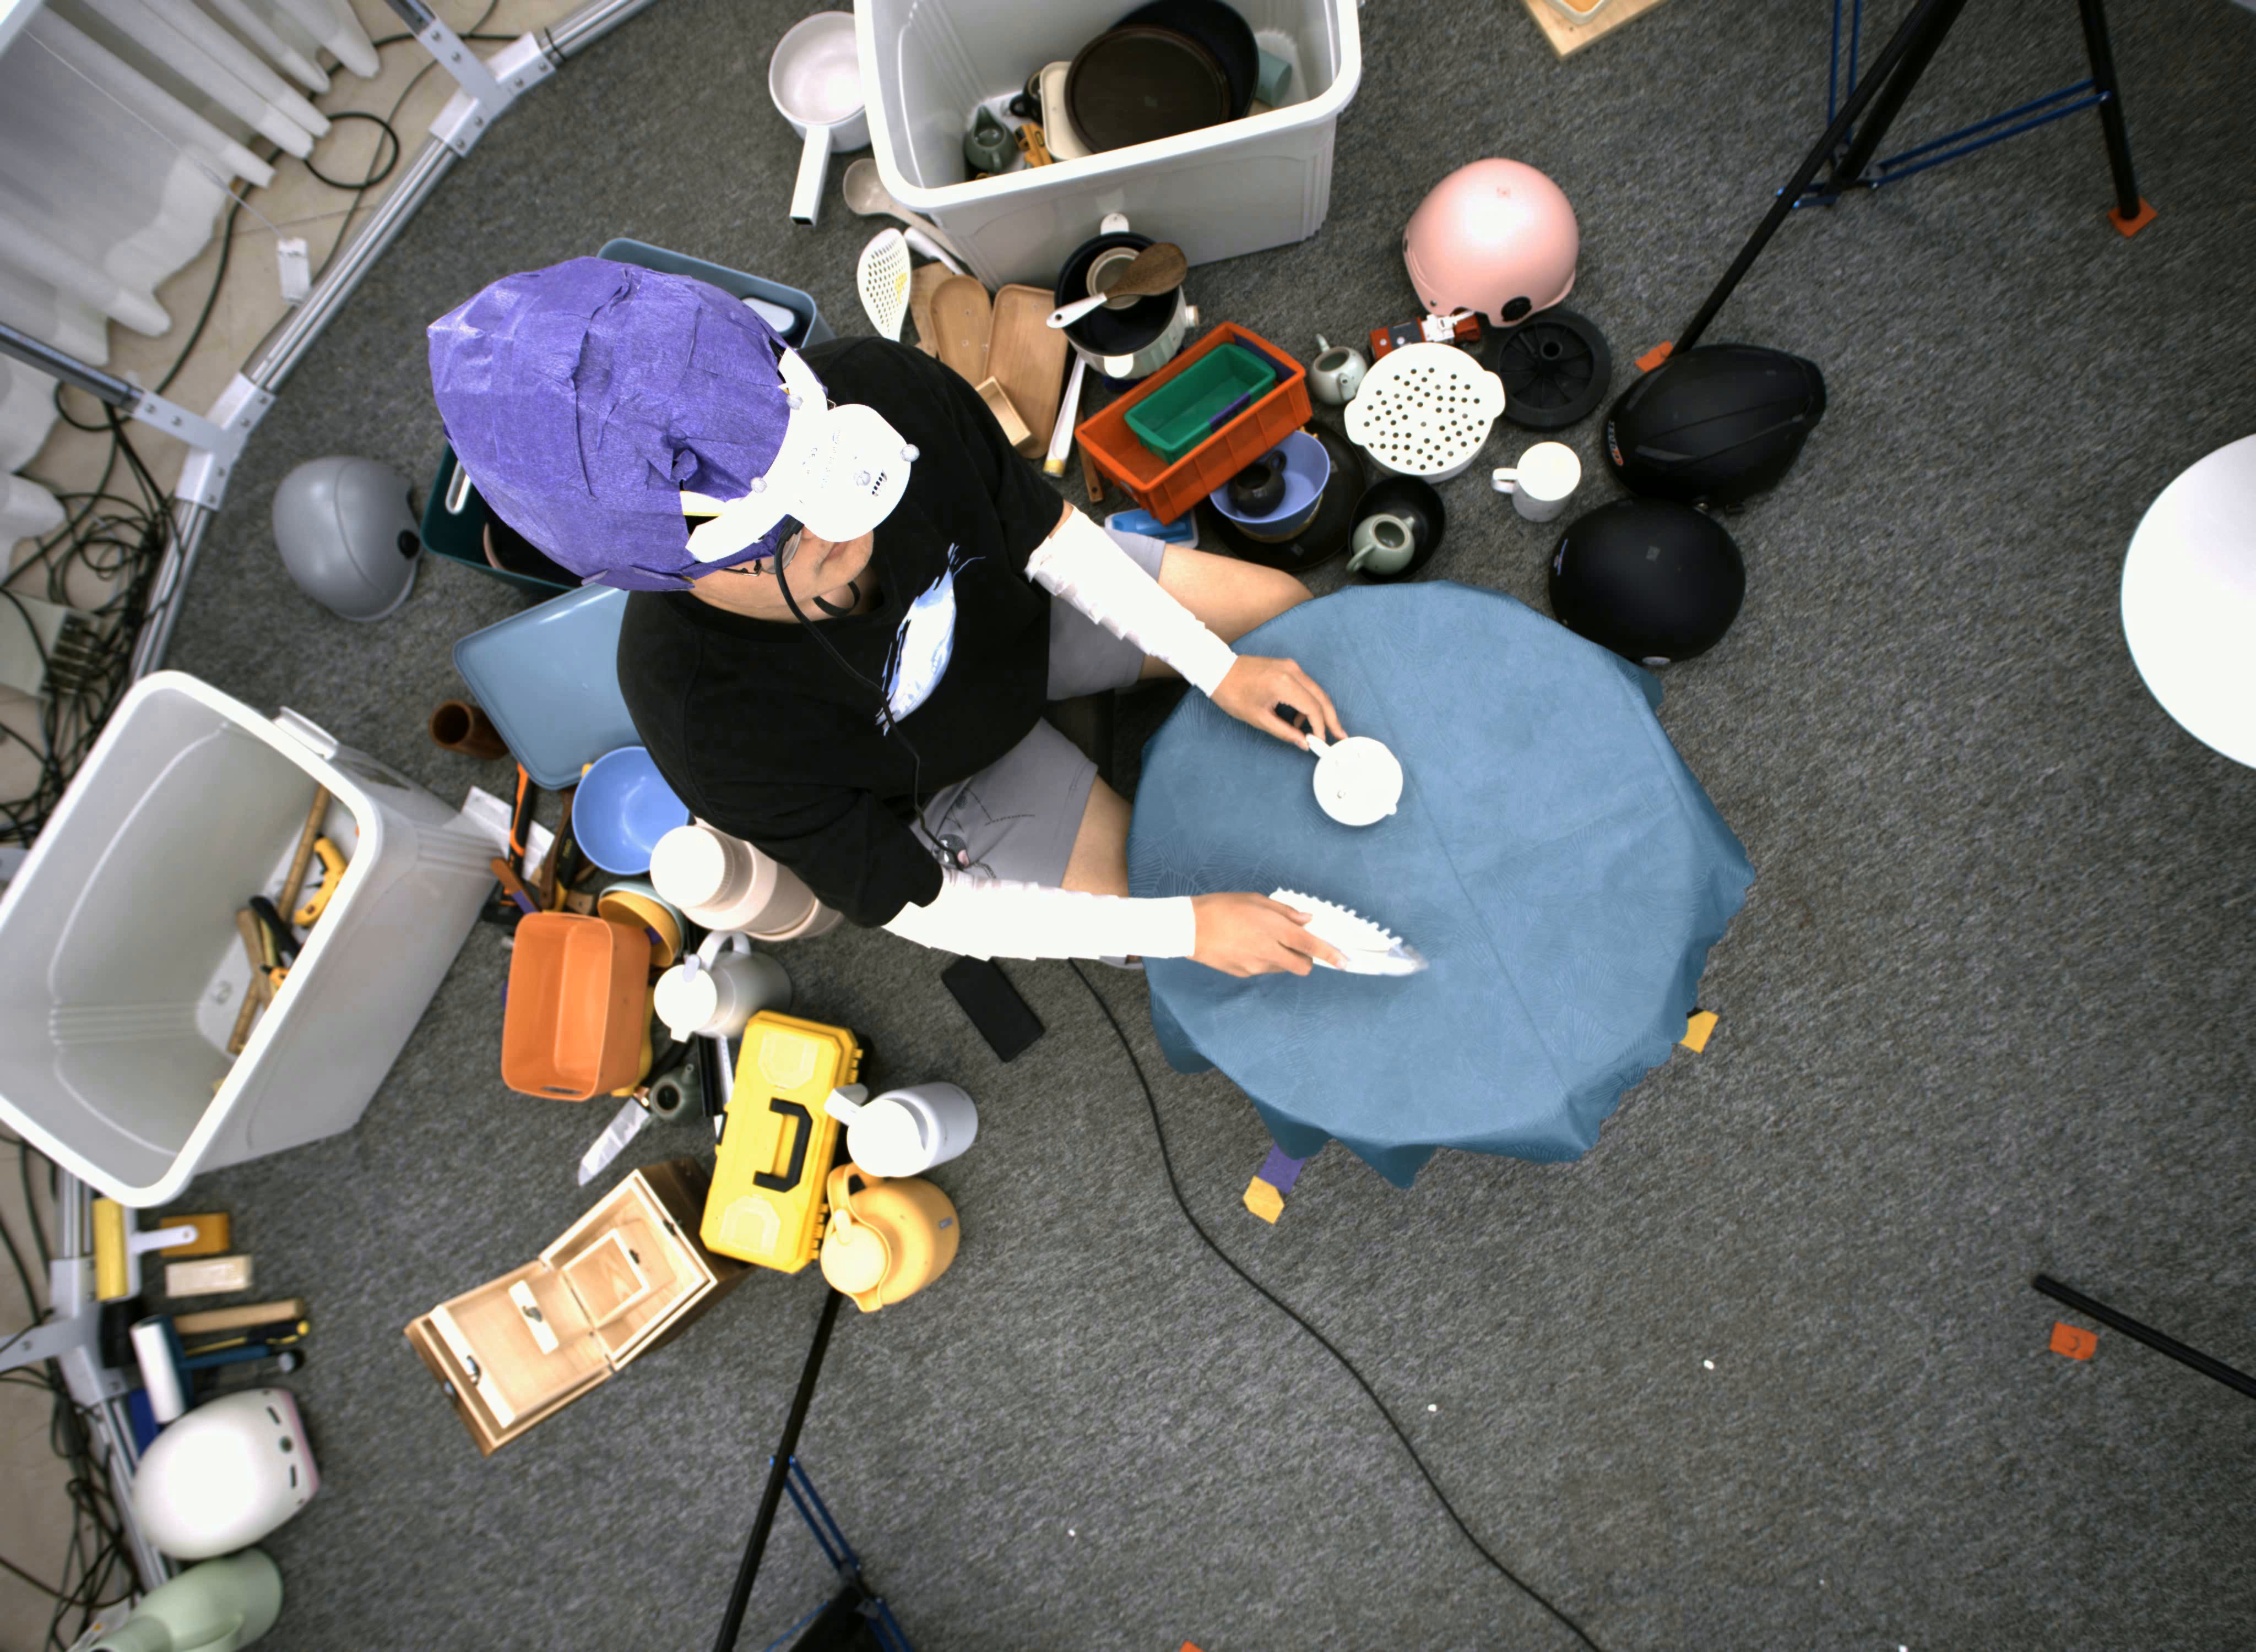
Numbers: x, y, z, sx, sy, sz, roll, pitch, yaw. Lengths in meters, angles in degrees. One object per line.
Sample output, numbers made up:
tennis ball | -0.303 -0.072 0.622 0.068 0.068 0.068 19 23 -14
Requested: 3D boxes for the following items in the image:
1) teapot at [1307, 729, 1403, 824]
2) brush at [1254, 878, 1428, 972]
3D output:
teapot | 0.233 -0.057 1.445 0.127 0.056 0.094 43 98 11
brush | 0.210 0.110 1.396 0.175 0.092 0.062 20 111 19
